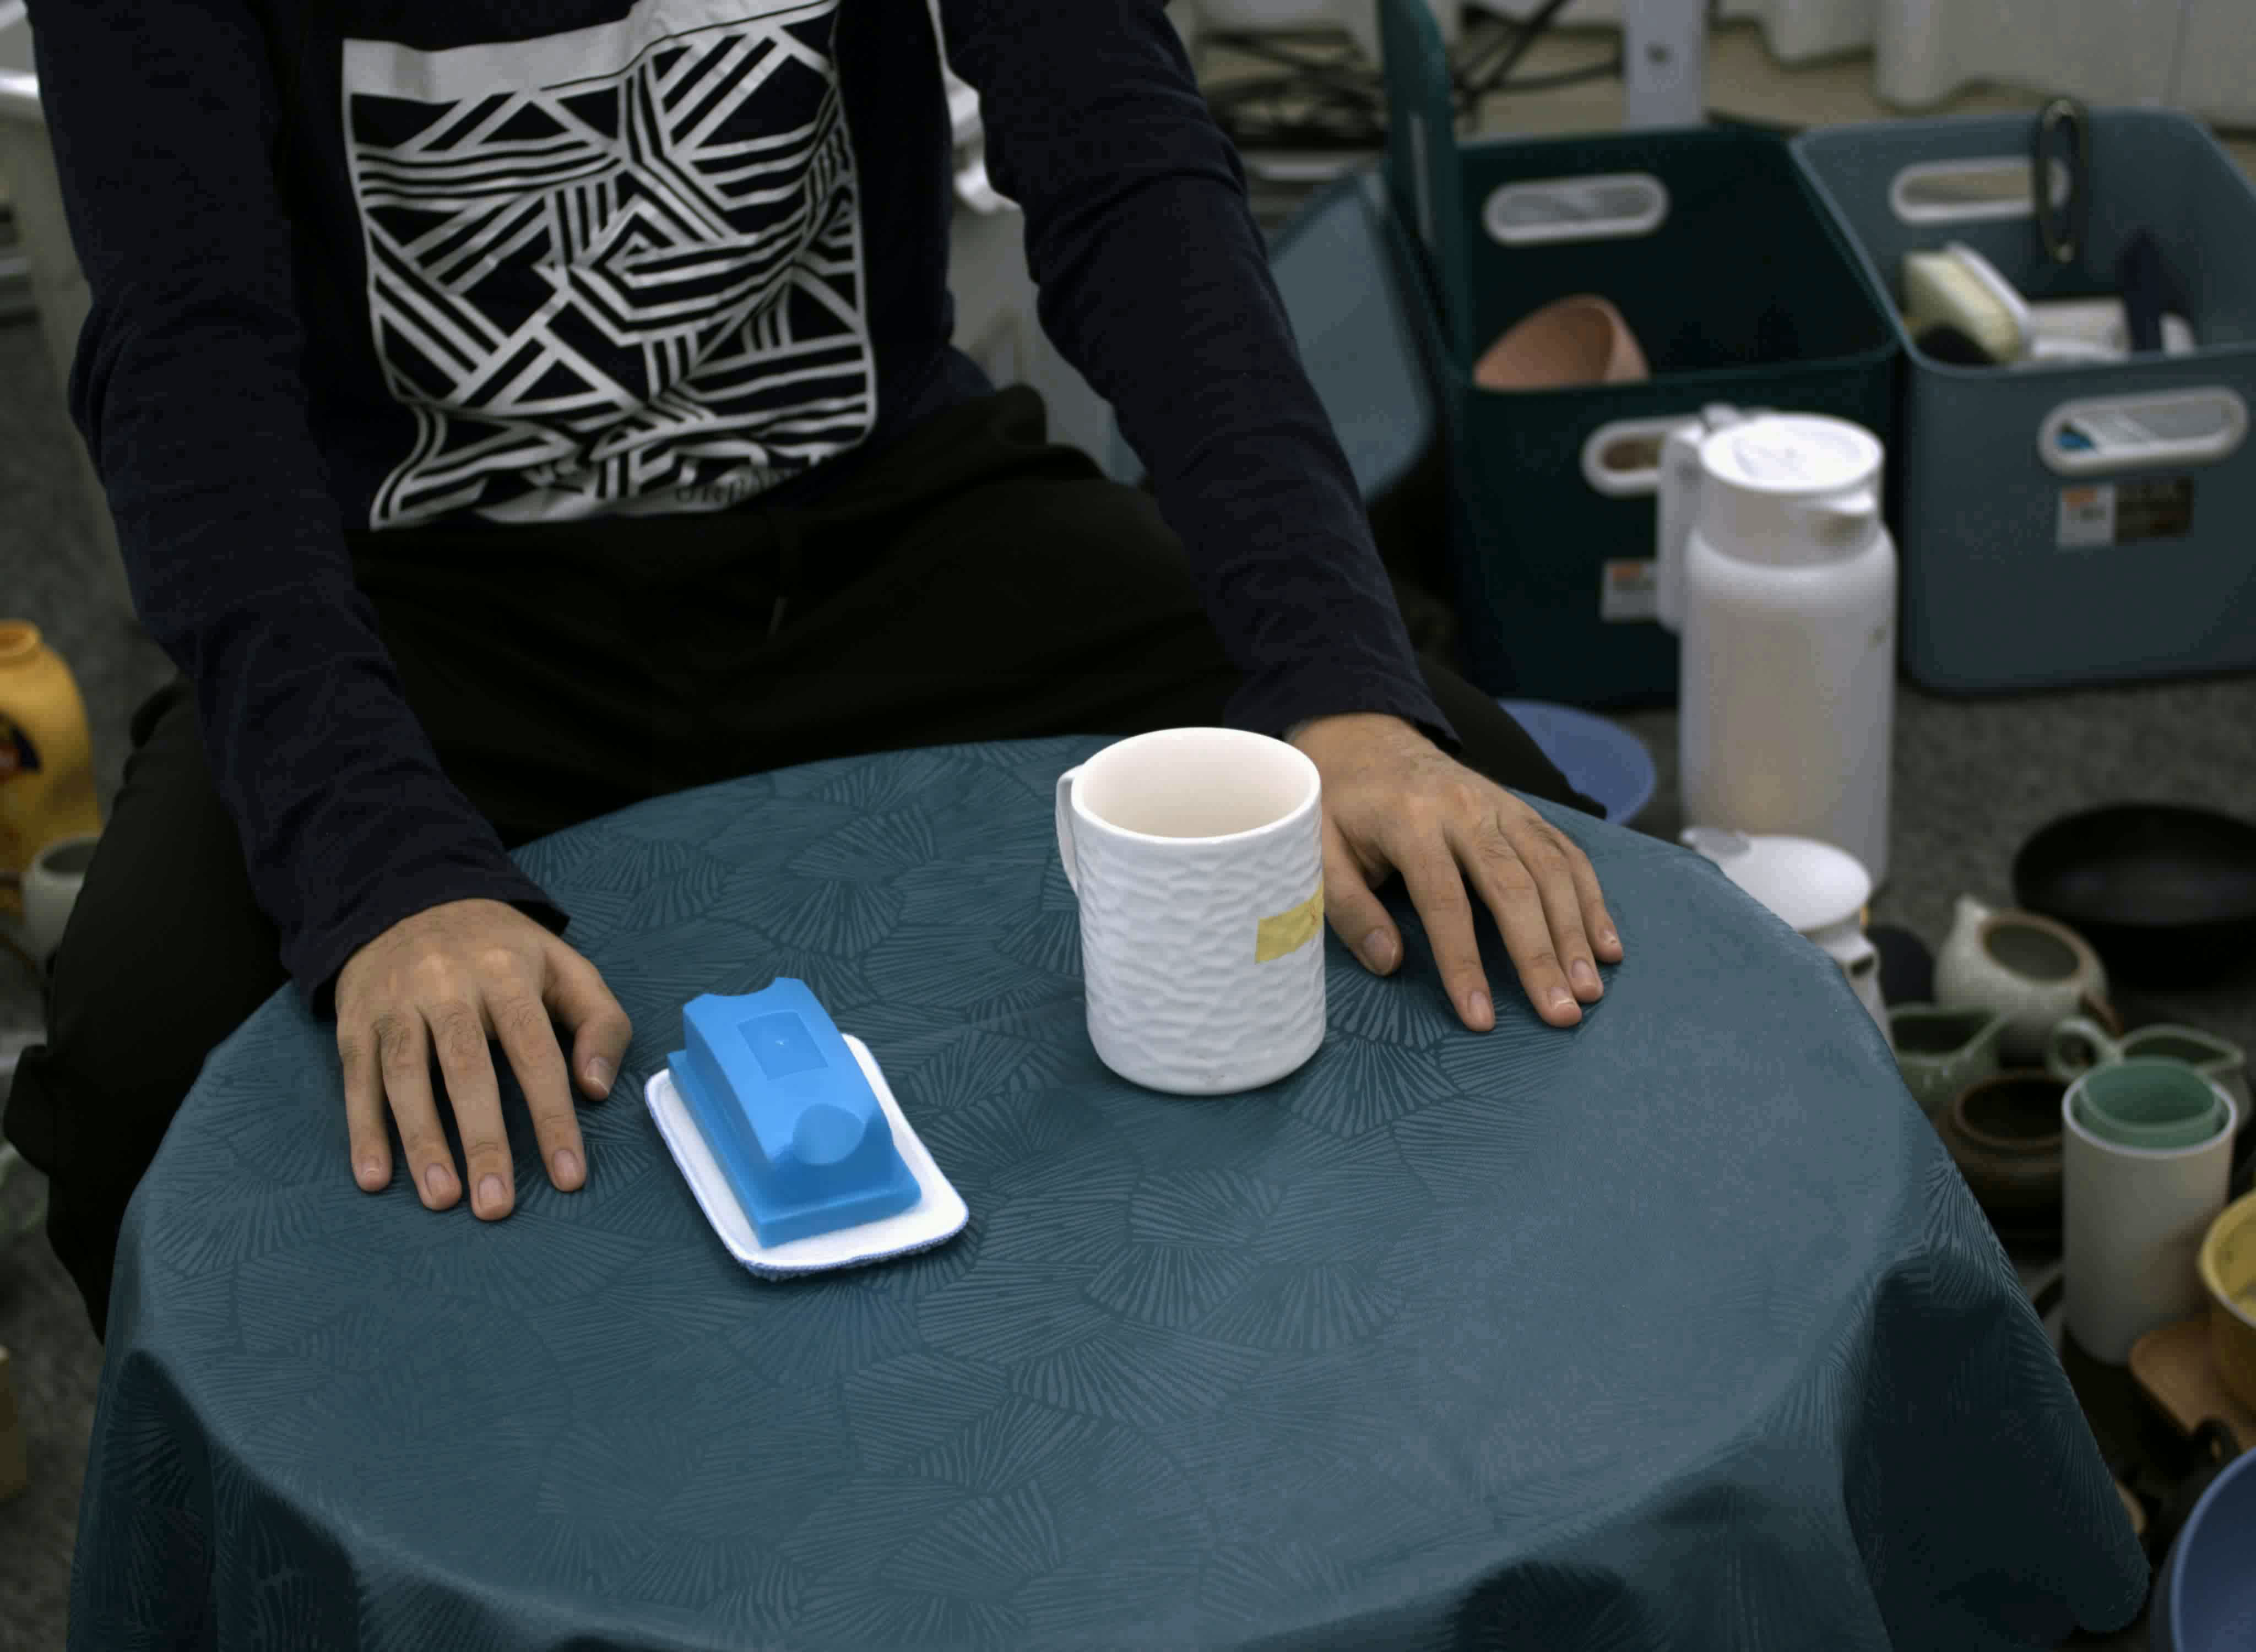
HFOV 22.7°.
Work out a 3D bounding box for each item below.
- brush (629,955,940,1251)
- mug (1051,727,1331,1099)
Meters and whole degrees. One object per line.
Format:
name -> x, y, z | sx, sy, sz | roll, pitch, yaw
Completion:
brush -> -0.114, 0.088, 1.870 | 0.084, 0.055, 0.145 | -7, 30, -15
mug -> 0.016, 0.025, 1.934 | 0.086, 0.101, 0.118 | -23, 33, -33
